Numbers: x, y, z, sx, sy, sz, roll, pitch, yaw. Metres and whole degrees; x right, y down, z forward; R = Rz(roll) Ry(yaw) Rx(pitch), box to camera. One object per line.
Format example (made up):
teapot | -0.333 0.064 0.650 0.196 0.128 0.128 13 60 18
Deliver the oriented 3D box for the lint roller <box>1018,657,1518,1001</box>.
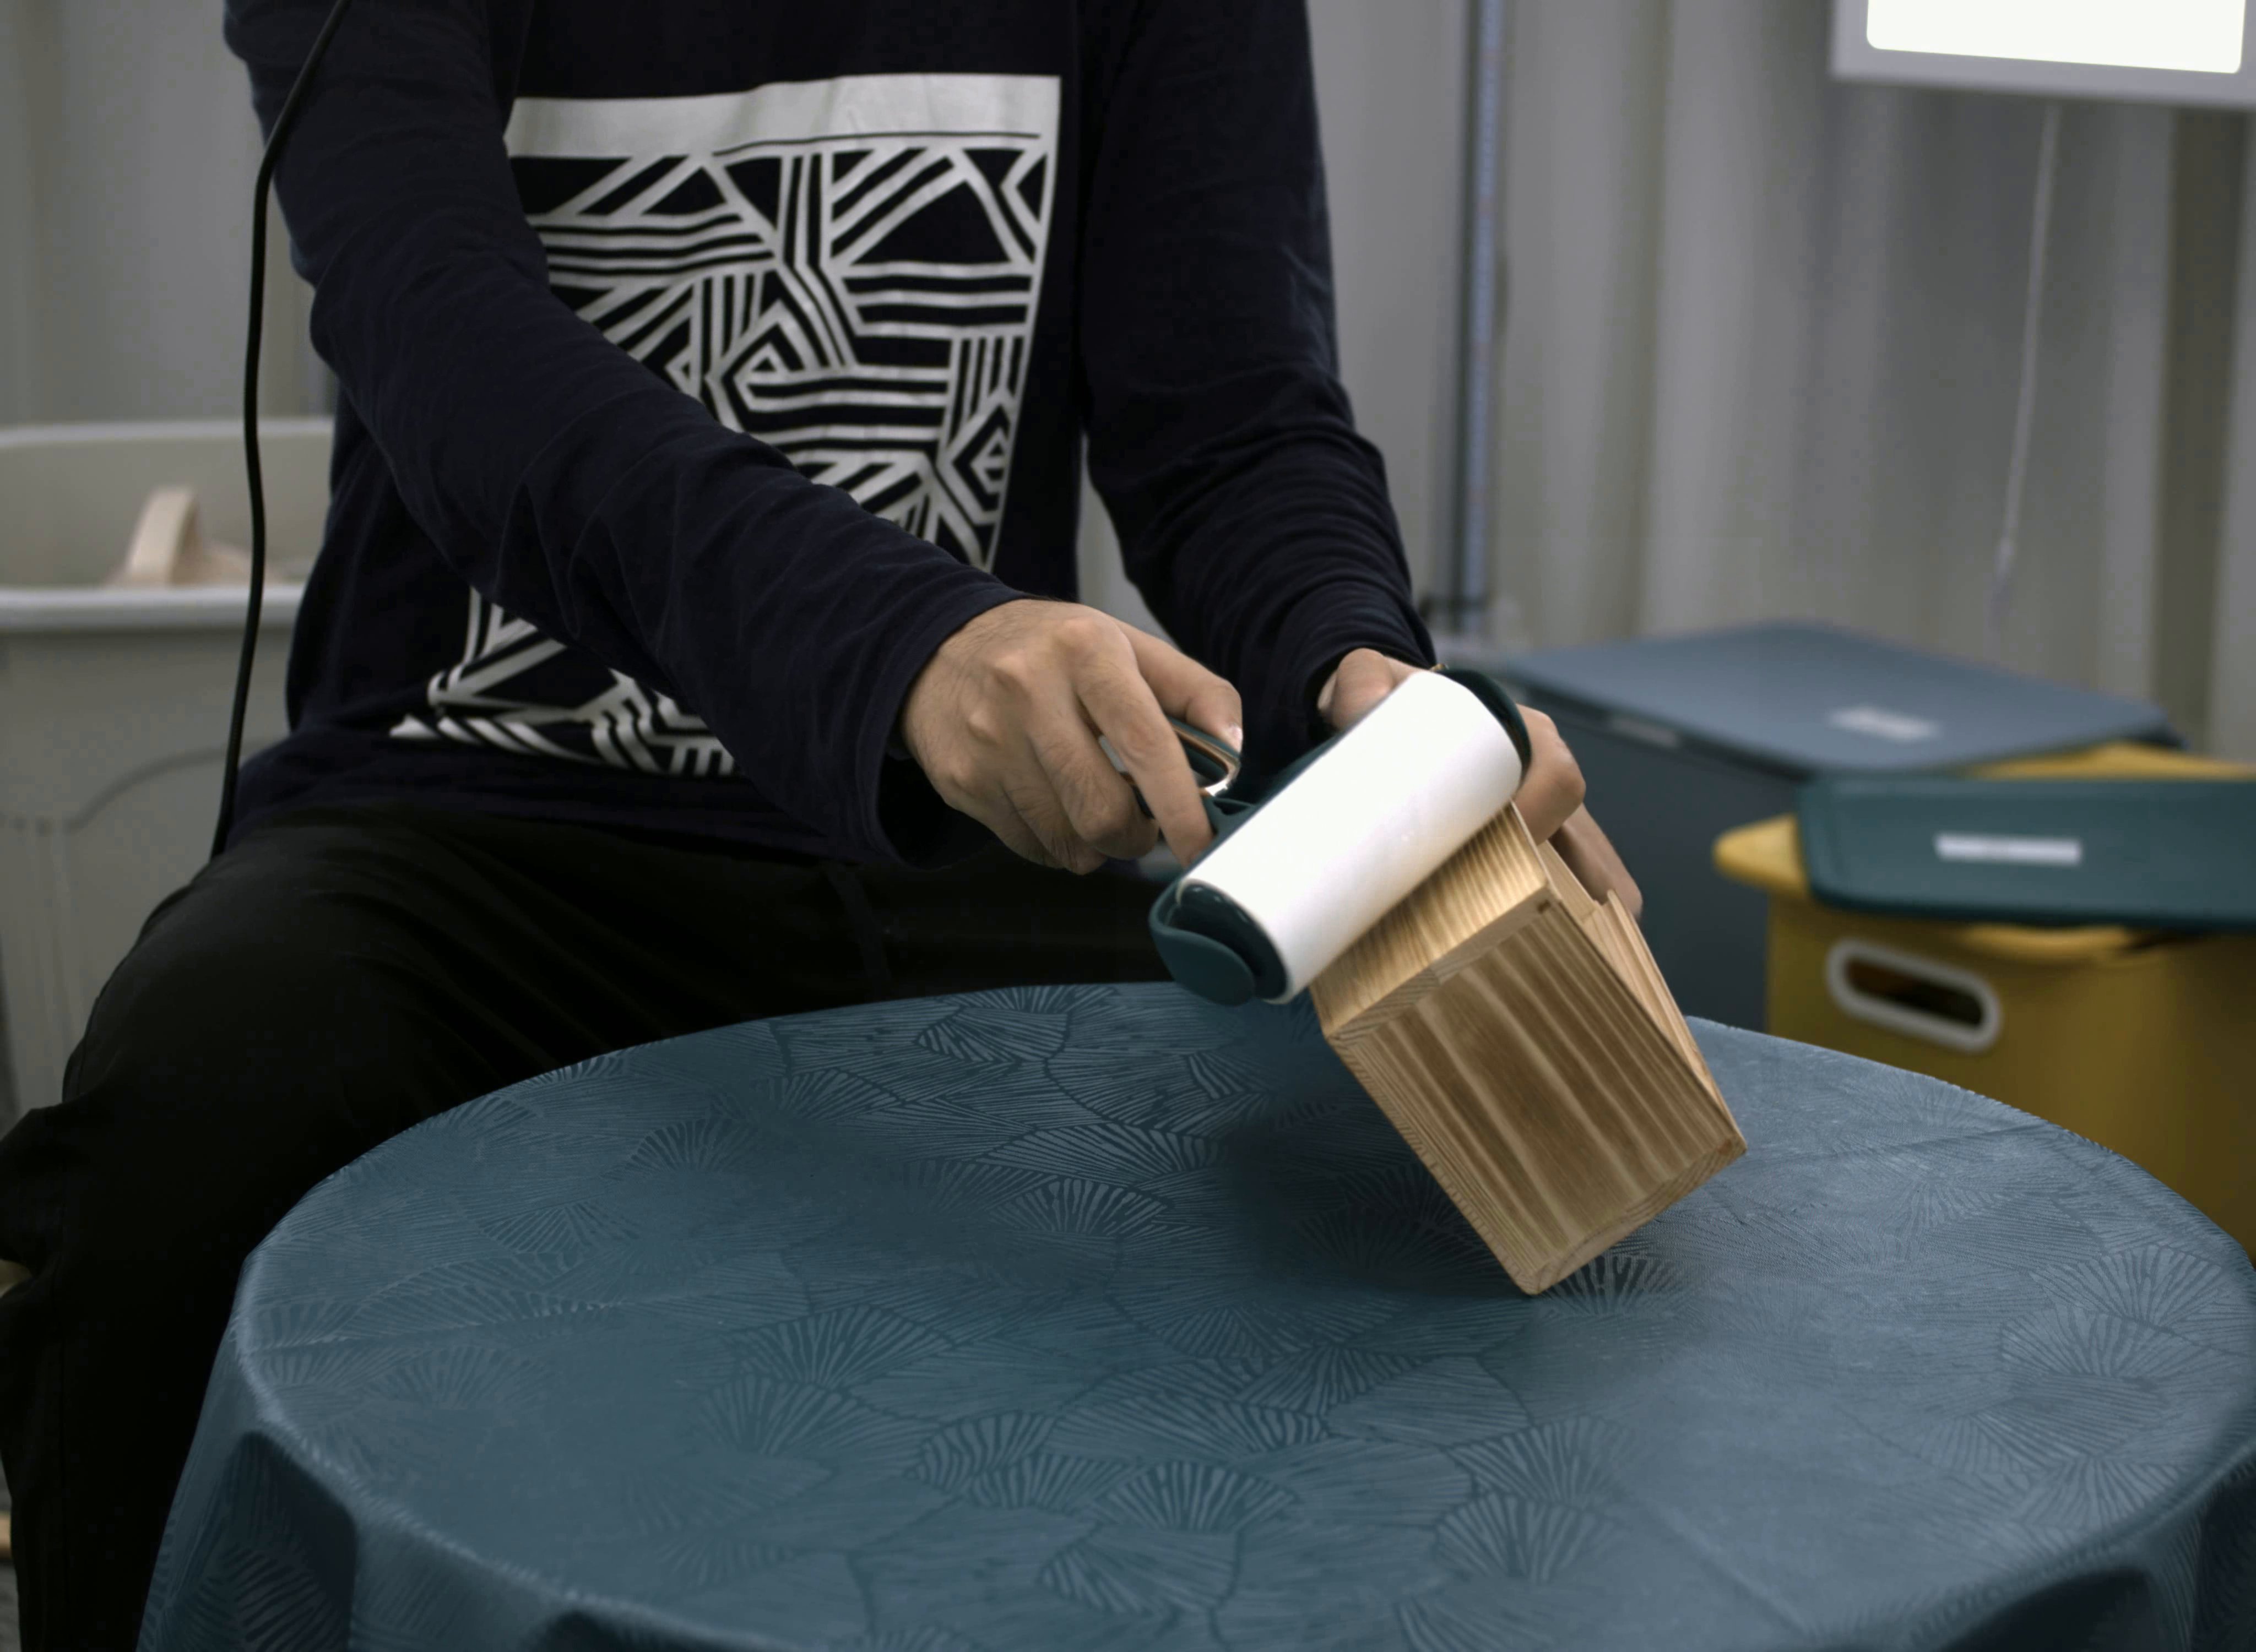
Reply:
lint roller | 0.020 -0.017 1.572 0.134 0.049 0.177 -42 39 -22

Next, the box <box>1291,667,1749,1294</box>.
box | 0.108 0.043 1.611 0.080 0.108 0.209 -36 19 7
